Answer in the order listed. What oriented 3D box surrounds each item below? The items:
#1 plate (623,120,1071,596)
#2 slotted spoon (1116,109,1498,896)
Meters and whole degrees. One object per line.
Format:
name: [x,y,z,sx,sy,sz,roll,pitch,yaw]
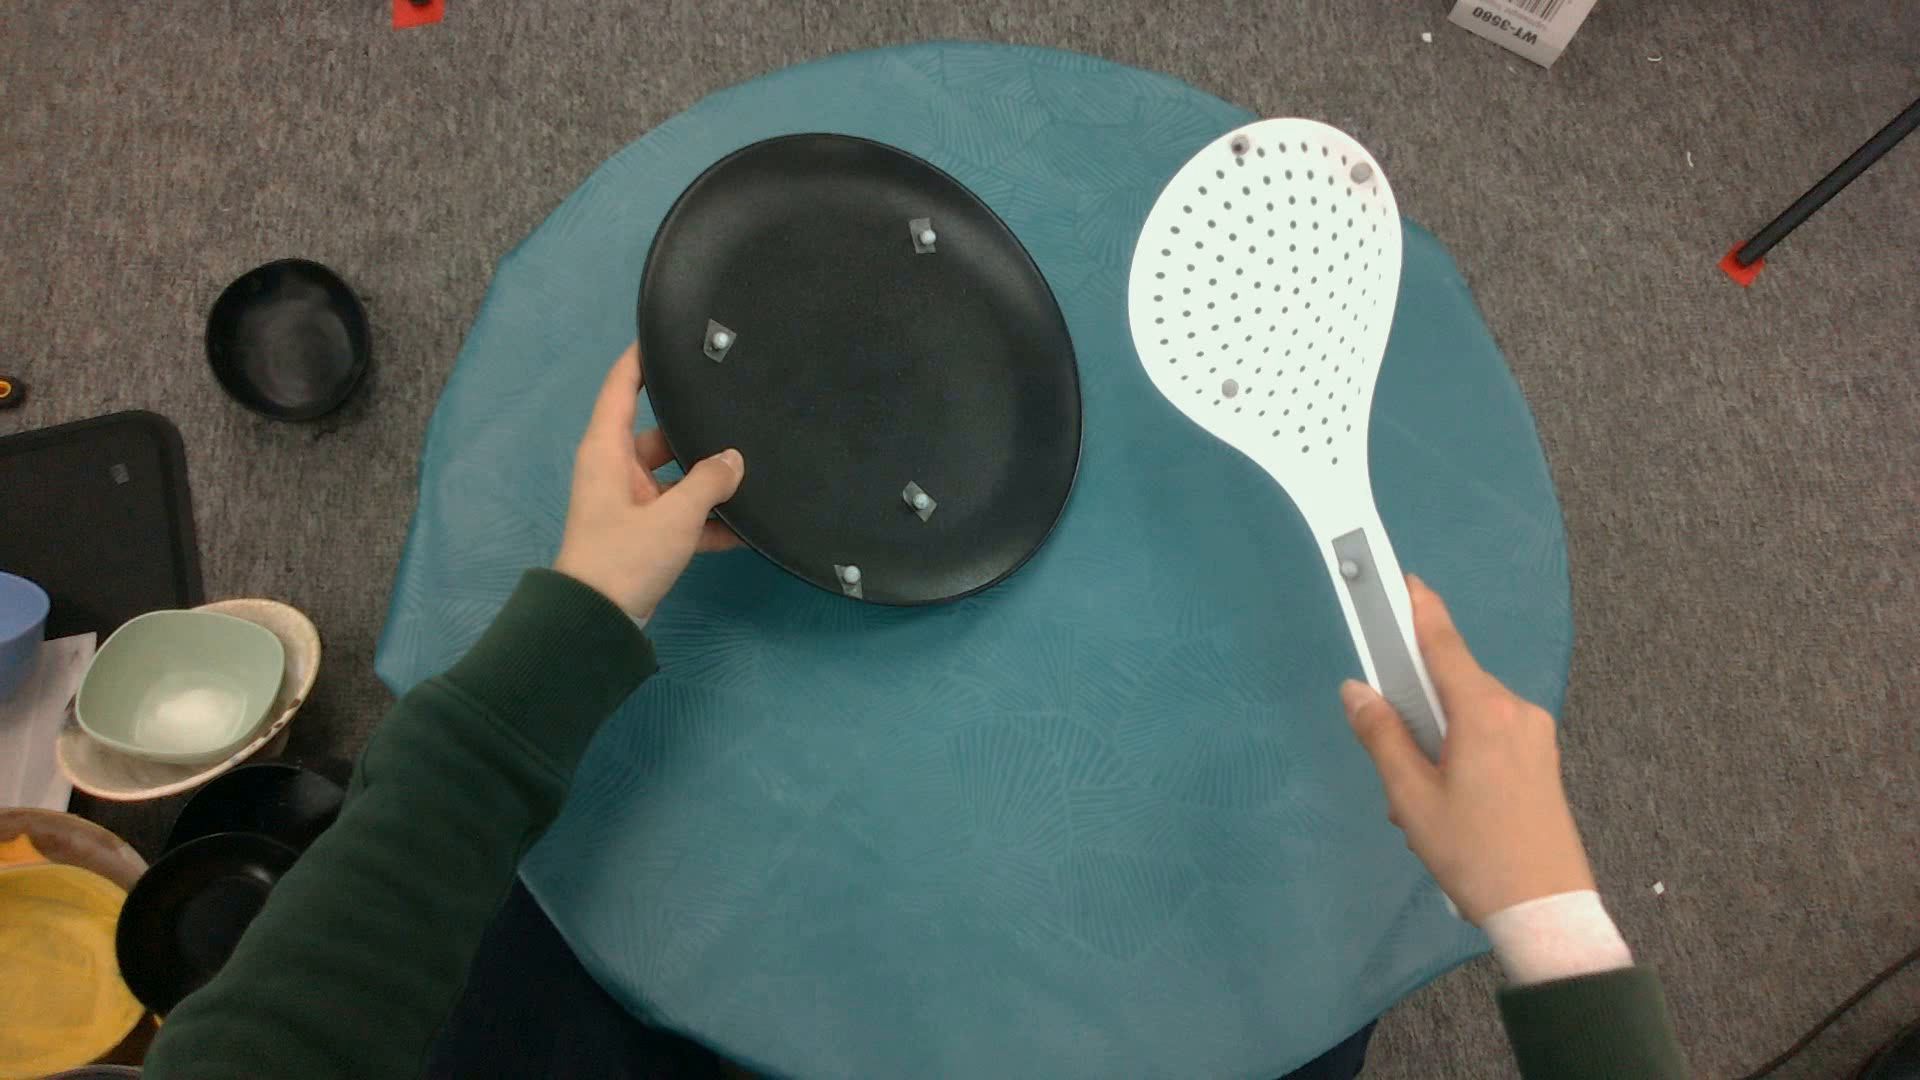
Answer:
plate: [-0.050,-0.090,0.676,0.245,0.023,0.245,10,70,-30]
slotted spoon: [0.157,-0.024,0.592,0.046,0.135,0.350,8,62,-44]
